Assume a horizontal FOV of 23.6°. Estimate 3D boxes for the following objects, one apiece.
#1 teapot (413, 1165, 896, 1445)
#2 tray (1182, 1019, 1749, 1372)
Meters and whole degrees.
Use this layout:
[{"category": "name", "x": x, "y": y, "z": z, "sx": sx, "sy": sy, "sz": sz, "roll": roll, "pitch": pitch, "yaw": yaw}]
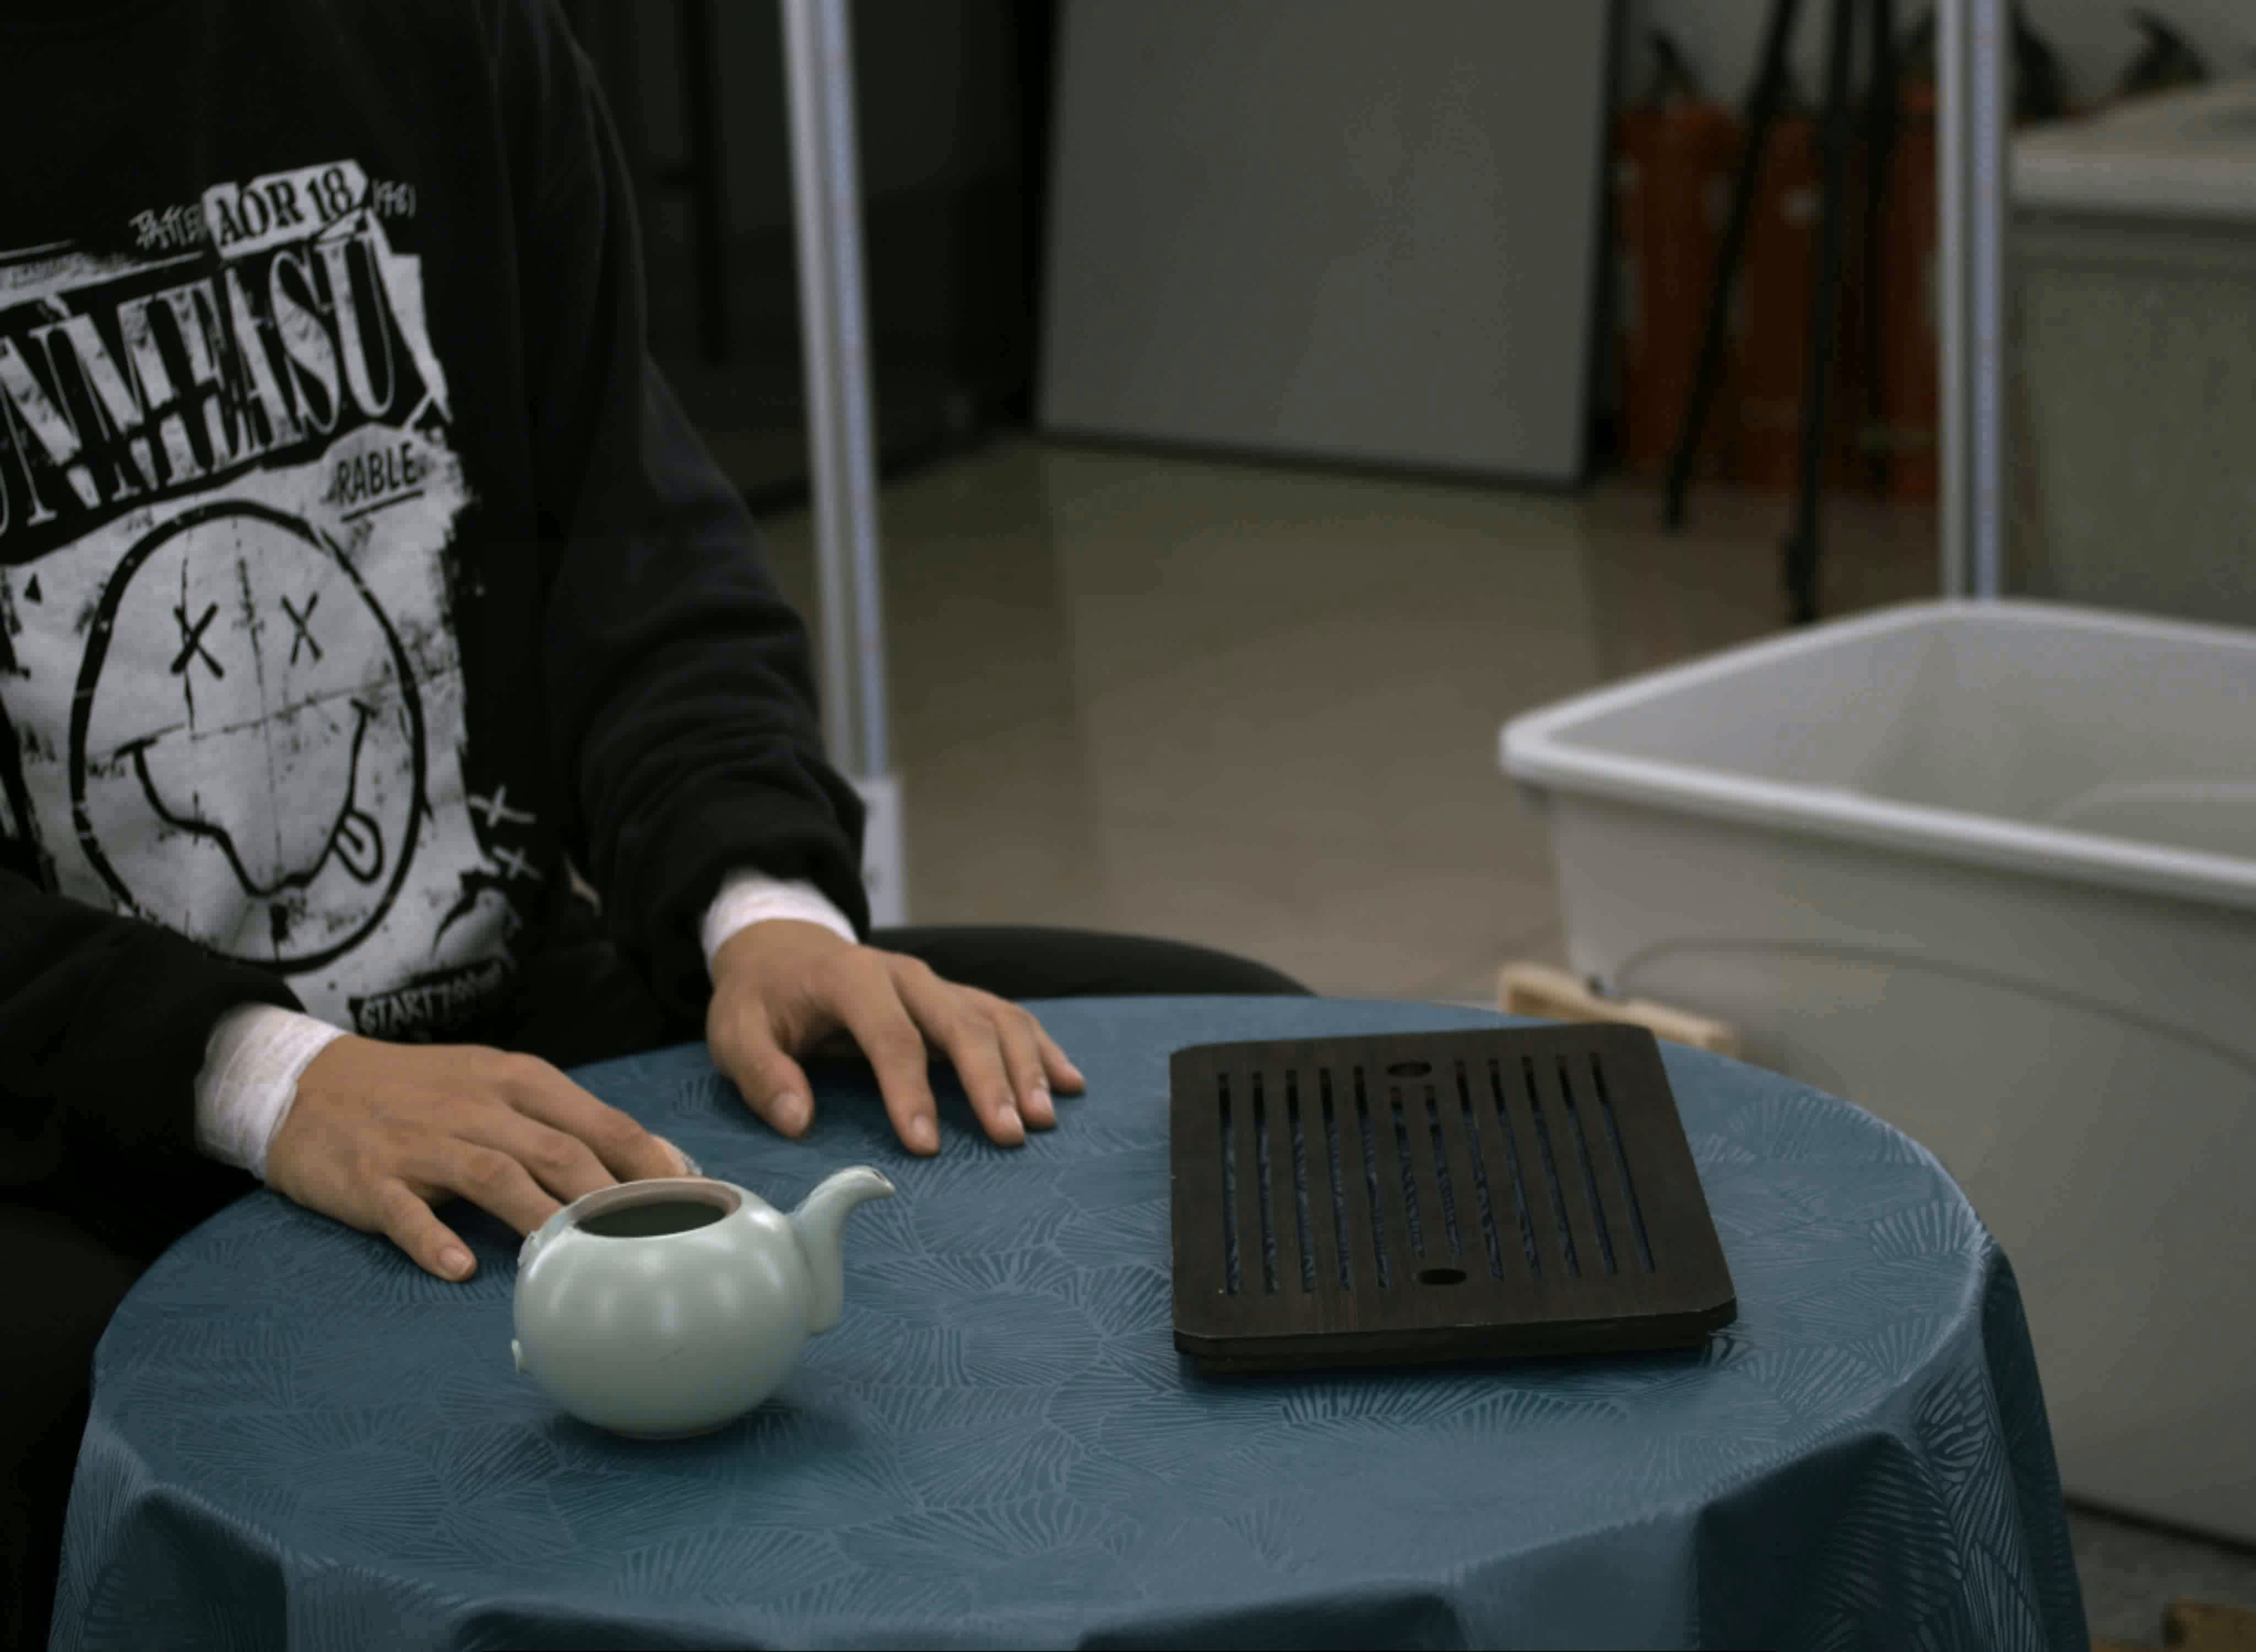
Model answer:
[{"category": "teapot", "x": -0.137, "y": 0.140, "z": 1.587, "sx": 0.141, "sy": 0.075, "sz": 0.088, "roll": -3, "pitch": 14, "yaw": -4}, {"category": "tray", "x": 0.102, "y": 0.116, "z": 1.726, "sx": 0.168, "sy": 0.019, "sz": 0.306, "roll": -4, "pitch": 14, "yaw": 2}]
